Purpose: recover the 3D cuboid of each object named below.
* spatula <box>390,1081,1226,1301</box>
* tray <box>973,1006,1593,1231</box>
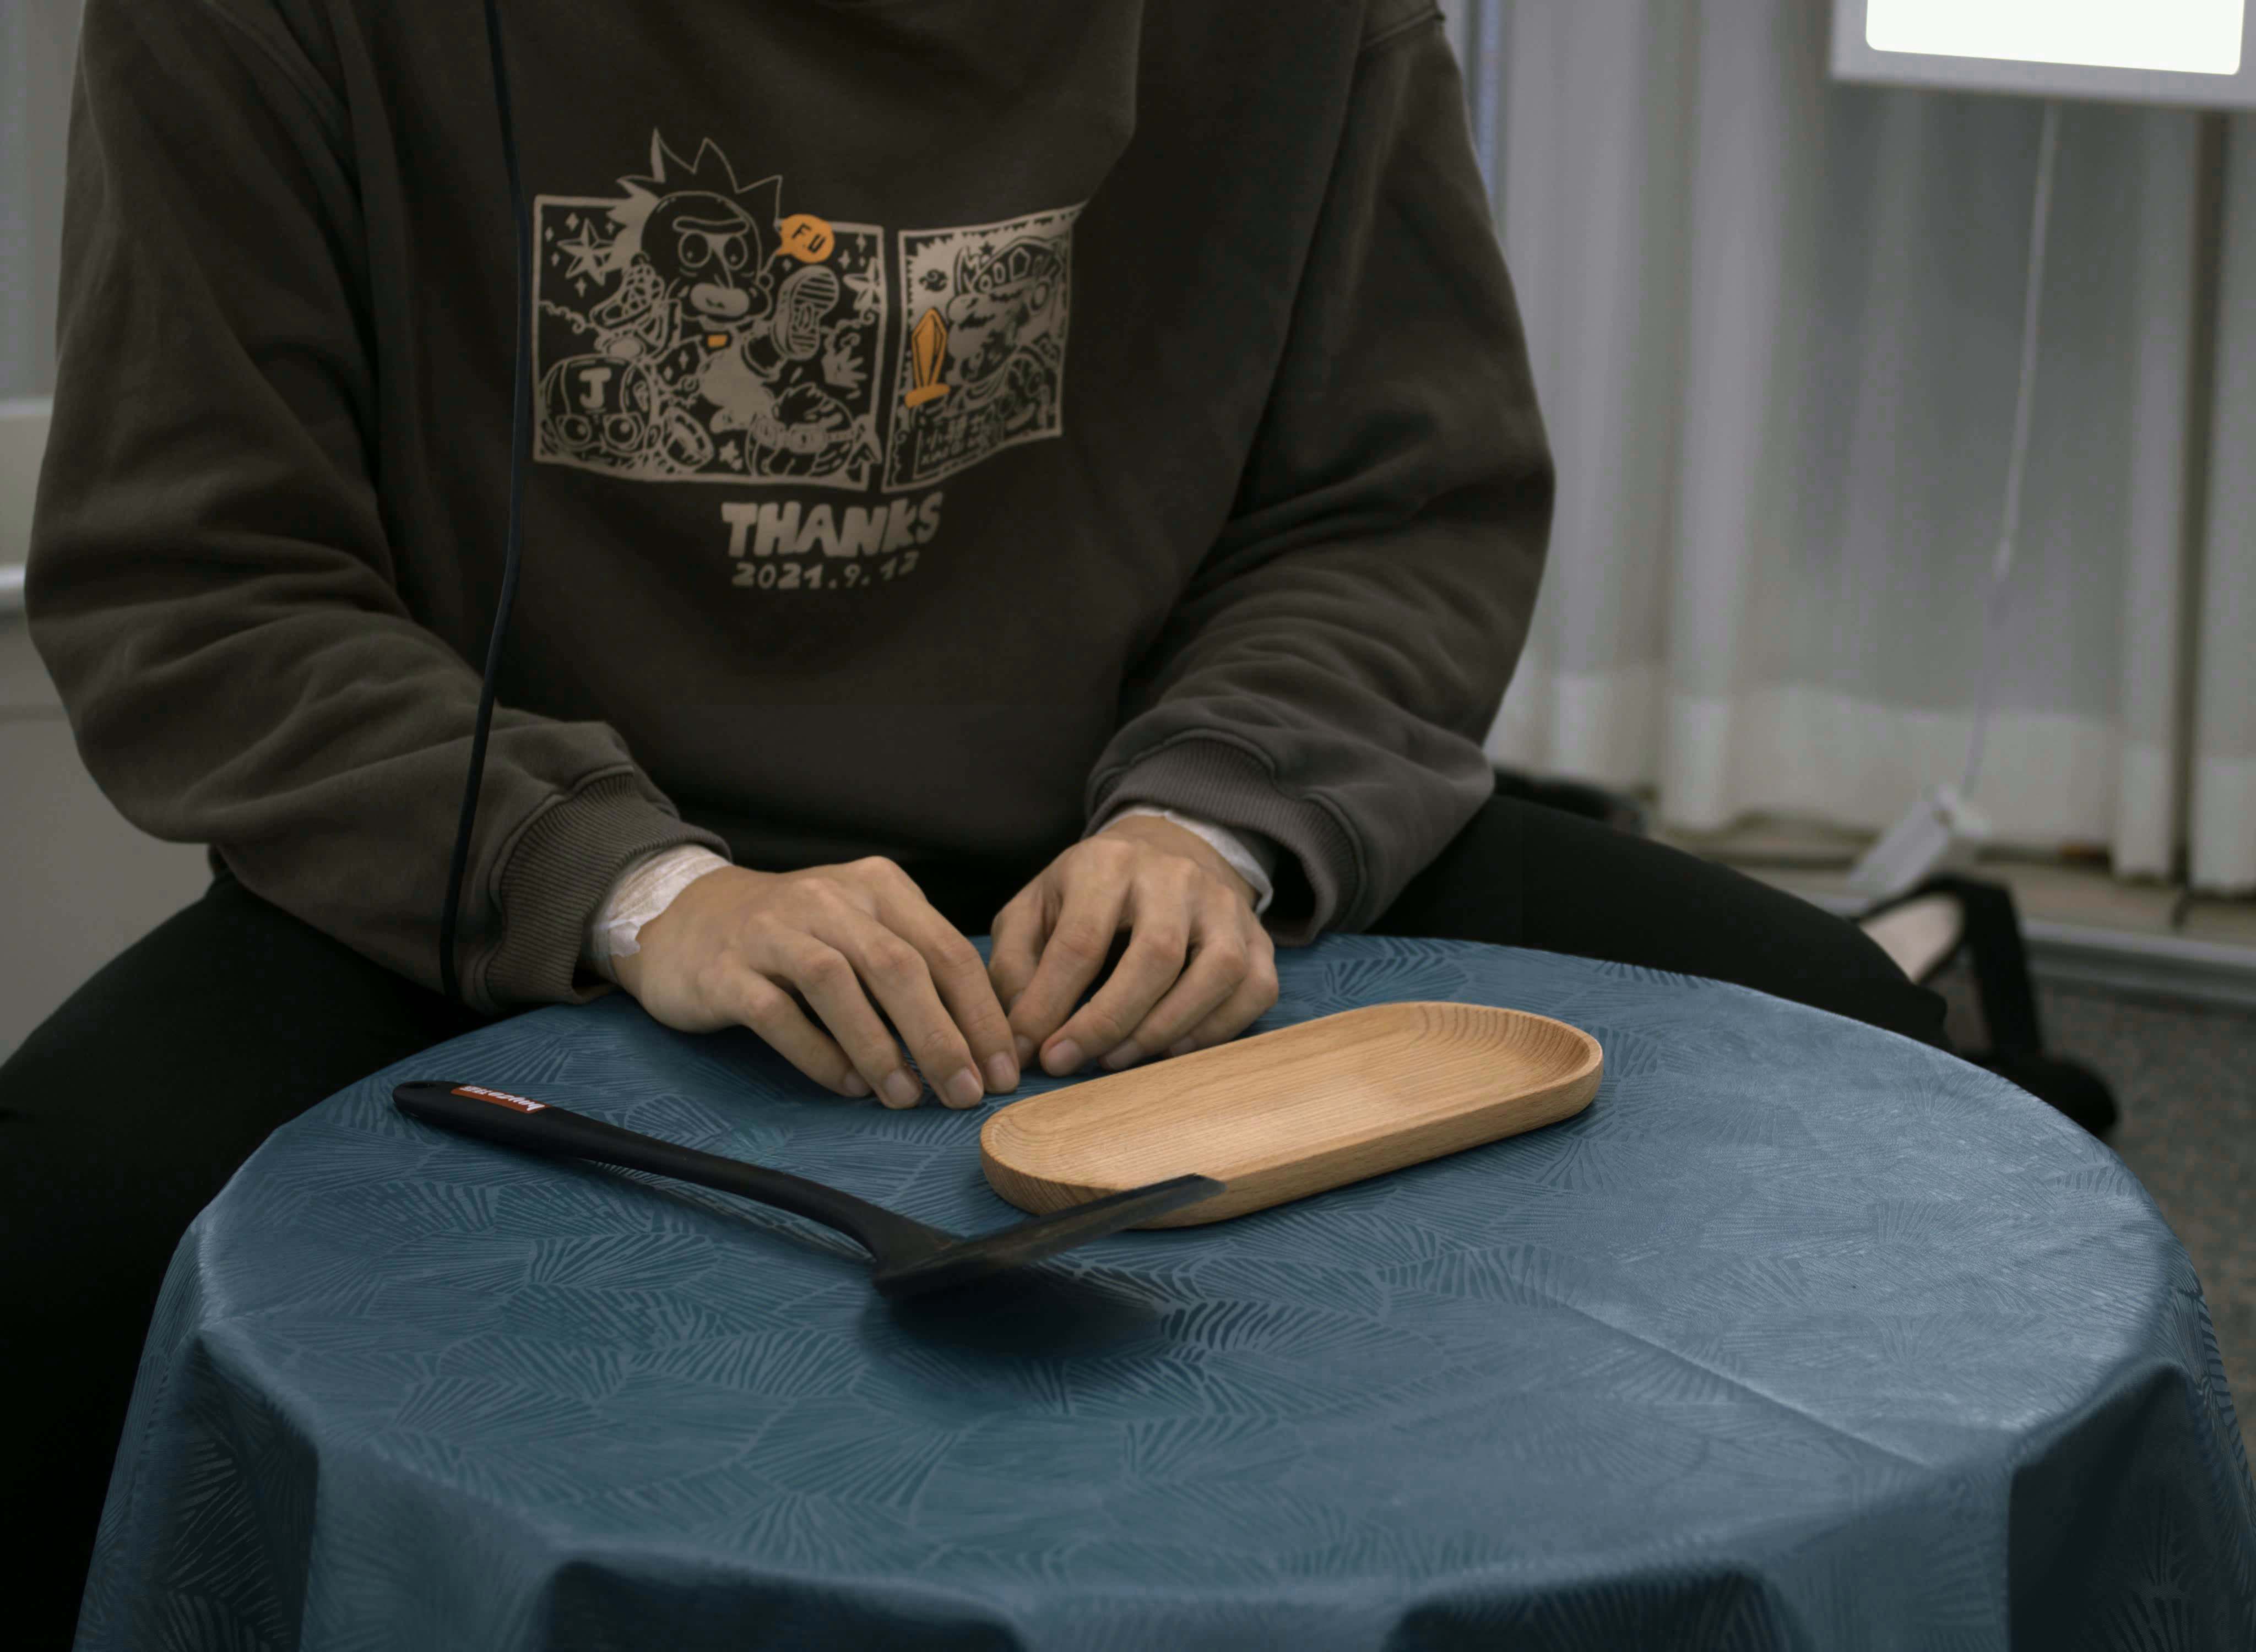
[{"bbox_3d":[-0.117,0.102,1.597,0.322,0.040,0.100,14,19,40],"label":"spatula"},{"bbox_3d":[0.052,0.092,1.676,0.232,0.020,0.100,-14,21,-39],"label":"tray"}]
